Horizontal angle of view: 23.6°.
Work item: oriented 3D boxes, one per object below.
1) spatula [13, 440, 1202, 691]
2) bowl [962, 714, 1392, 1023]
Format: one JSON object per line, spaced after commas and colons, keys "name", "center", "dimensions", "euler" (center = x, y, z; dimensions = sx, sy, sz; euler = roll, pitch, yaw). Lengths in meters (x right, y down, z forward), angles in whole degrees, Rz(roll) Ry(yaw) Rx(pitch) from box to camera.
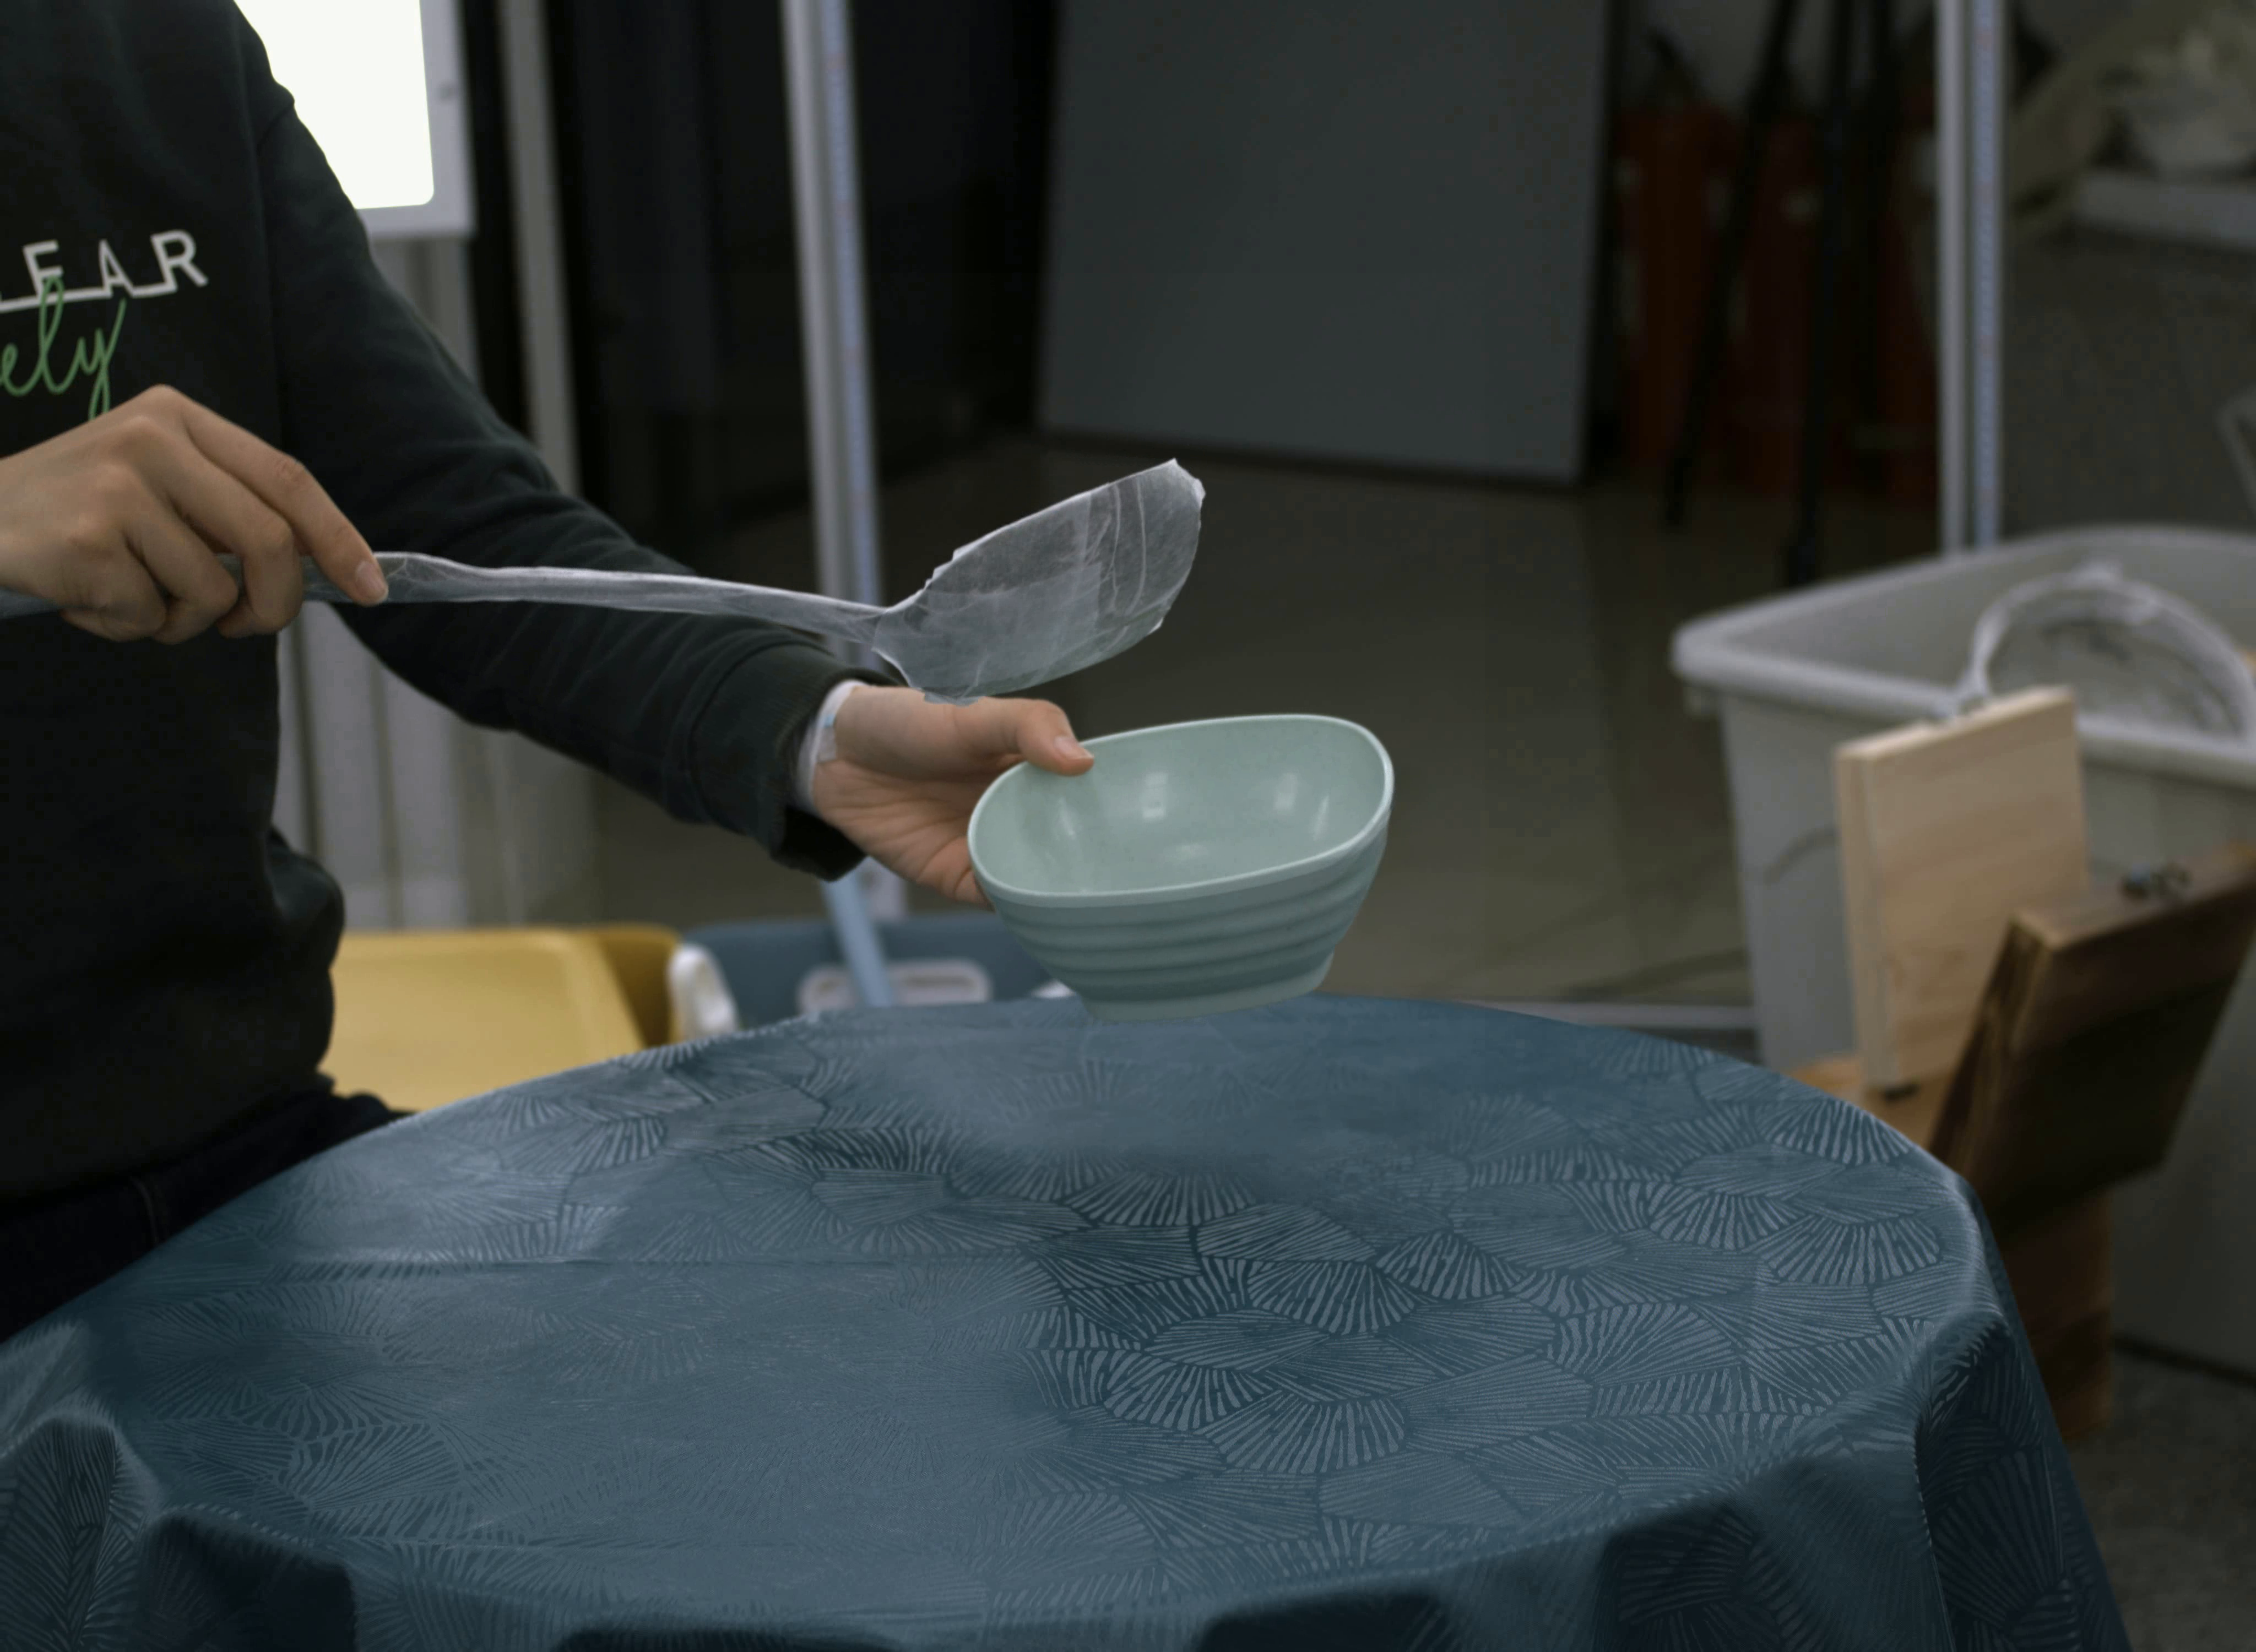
{"name": "spatula", "center": [-0.153, -0.077, 1.639], "dimensions": [0.358, 0.099, 0.045], "euler": [1, 53, -9]}
{"name": "bowl", "center": [0.018, 0.018, 1.725], "dimensions": [0.149, 0.059, 0.152], "euler": [-7, 23, 2]}
